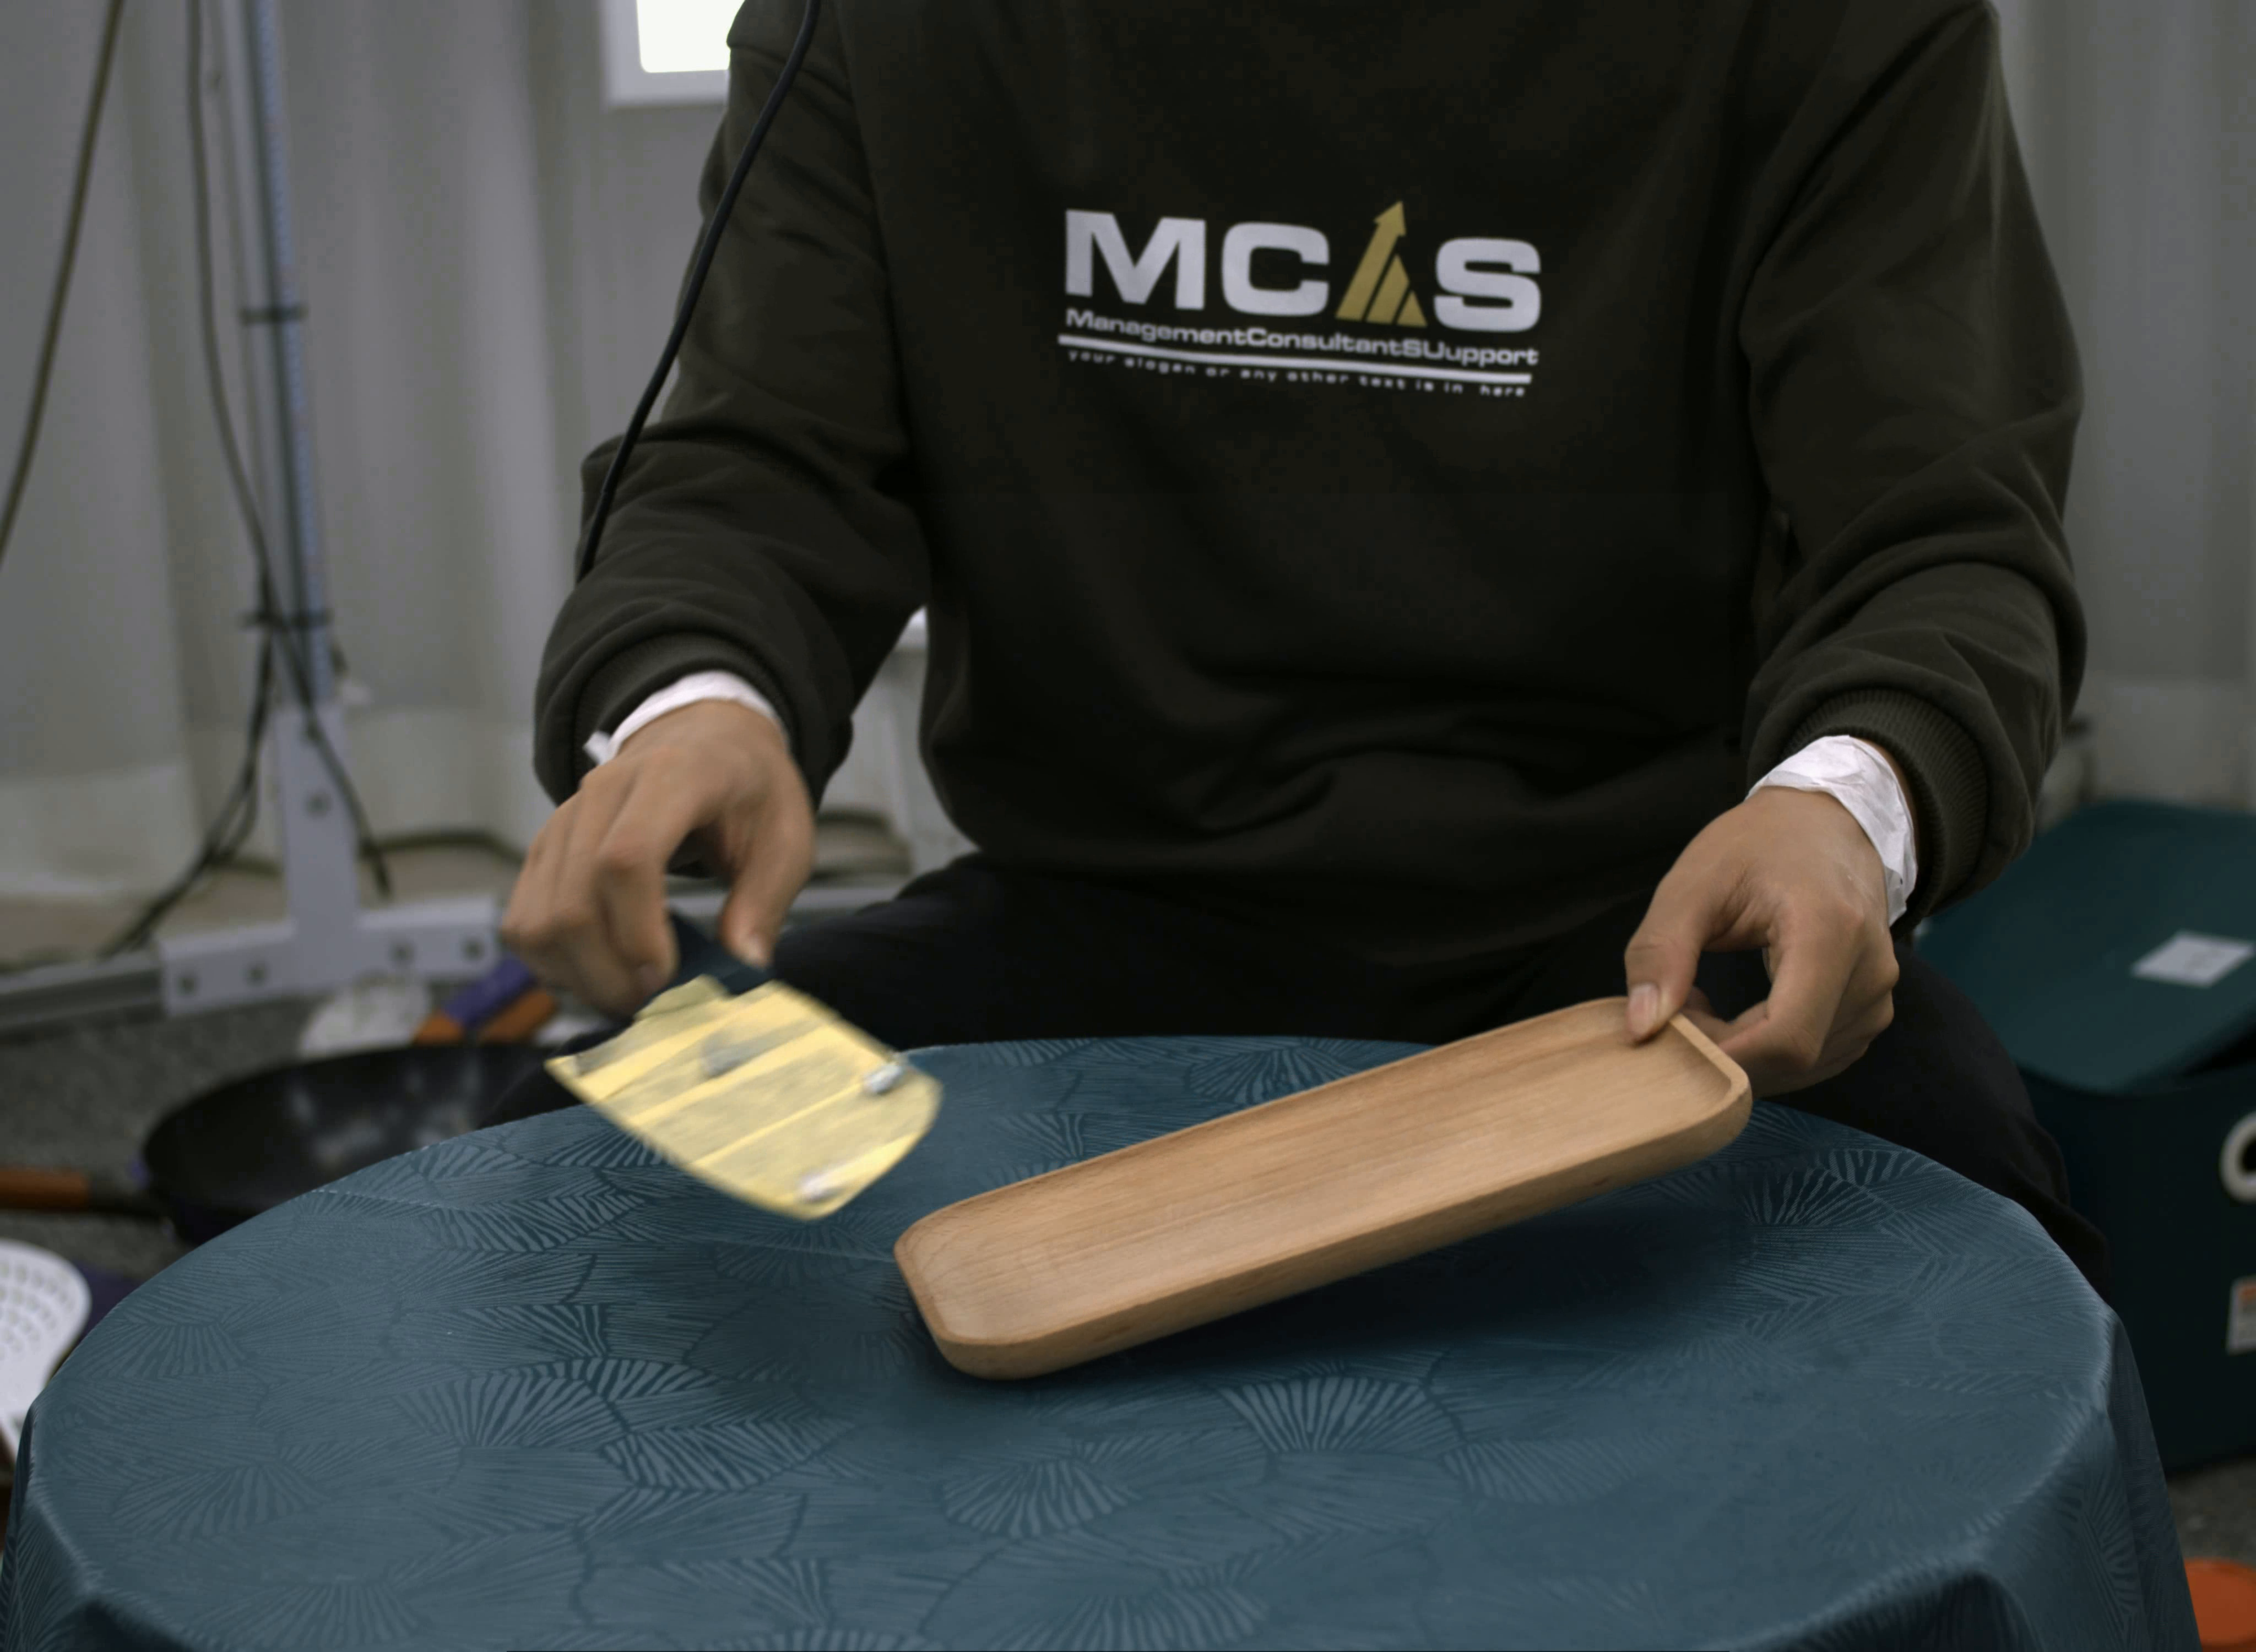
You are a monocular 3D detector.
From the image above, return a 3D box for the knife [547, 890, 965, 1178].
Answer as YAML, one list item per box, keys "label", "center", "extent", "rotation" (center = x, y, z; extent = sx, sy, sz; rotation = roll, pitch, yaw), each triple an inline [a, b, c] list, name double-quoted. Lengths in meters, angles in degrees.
- label: "knife"
  center: [-0.126, 0.062, 1.642]
  extent: [0.081, 0.027, 0.292]
  rotation: [-23, 21, -19]

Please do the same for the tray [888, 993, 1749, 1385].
- label: "tray"
  center: [0.055, 0.106, 1.613]
  extent: [0.250, 0.023, 0.131]
  rotation: [-18, 14, -7]
